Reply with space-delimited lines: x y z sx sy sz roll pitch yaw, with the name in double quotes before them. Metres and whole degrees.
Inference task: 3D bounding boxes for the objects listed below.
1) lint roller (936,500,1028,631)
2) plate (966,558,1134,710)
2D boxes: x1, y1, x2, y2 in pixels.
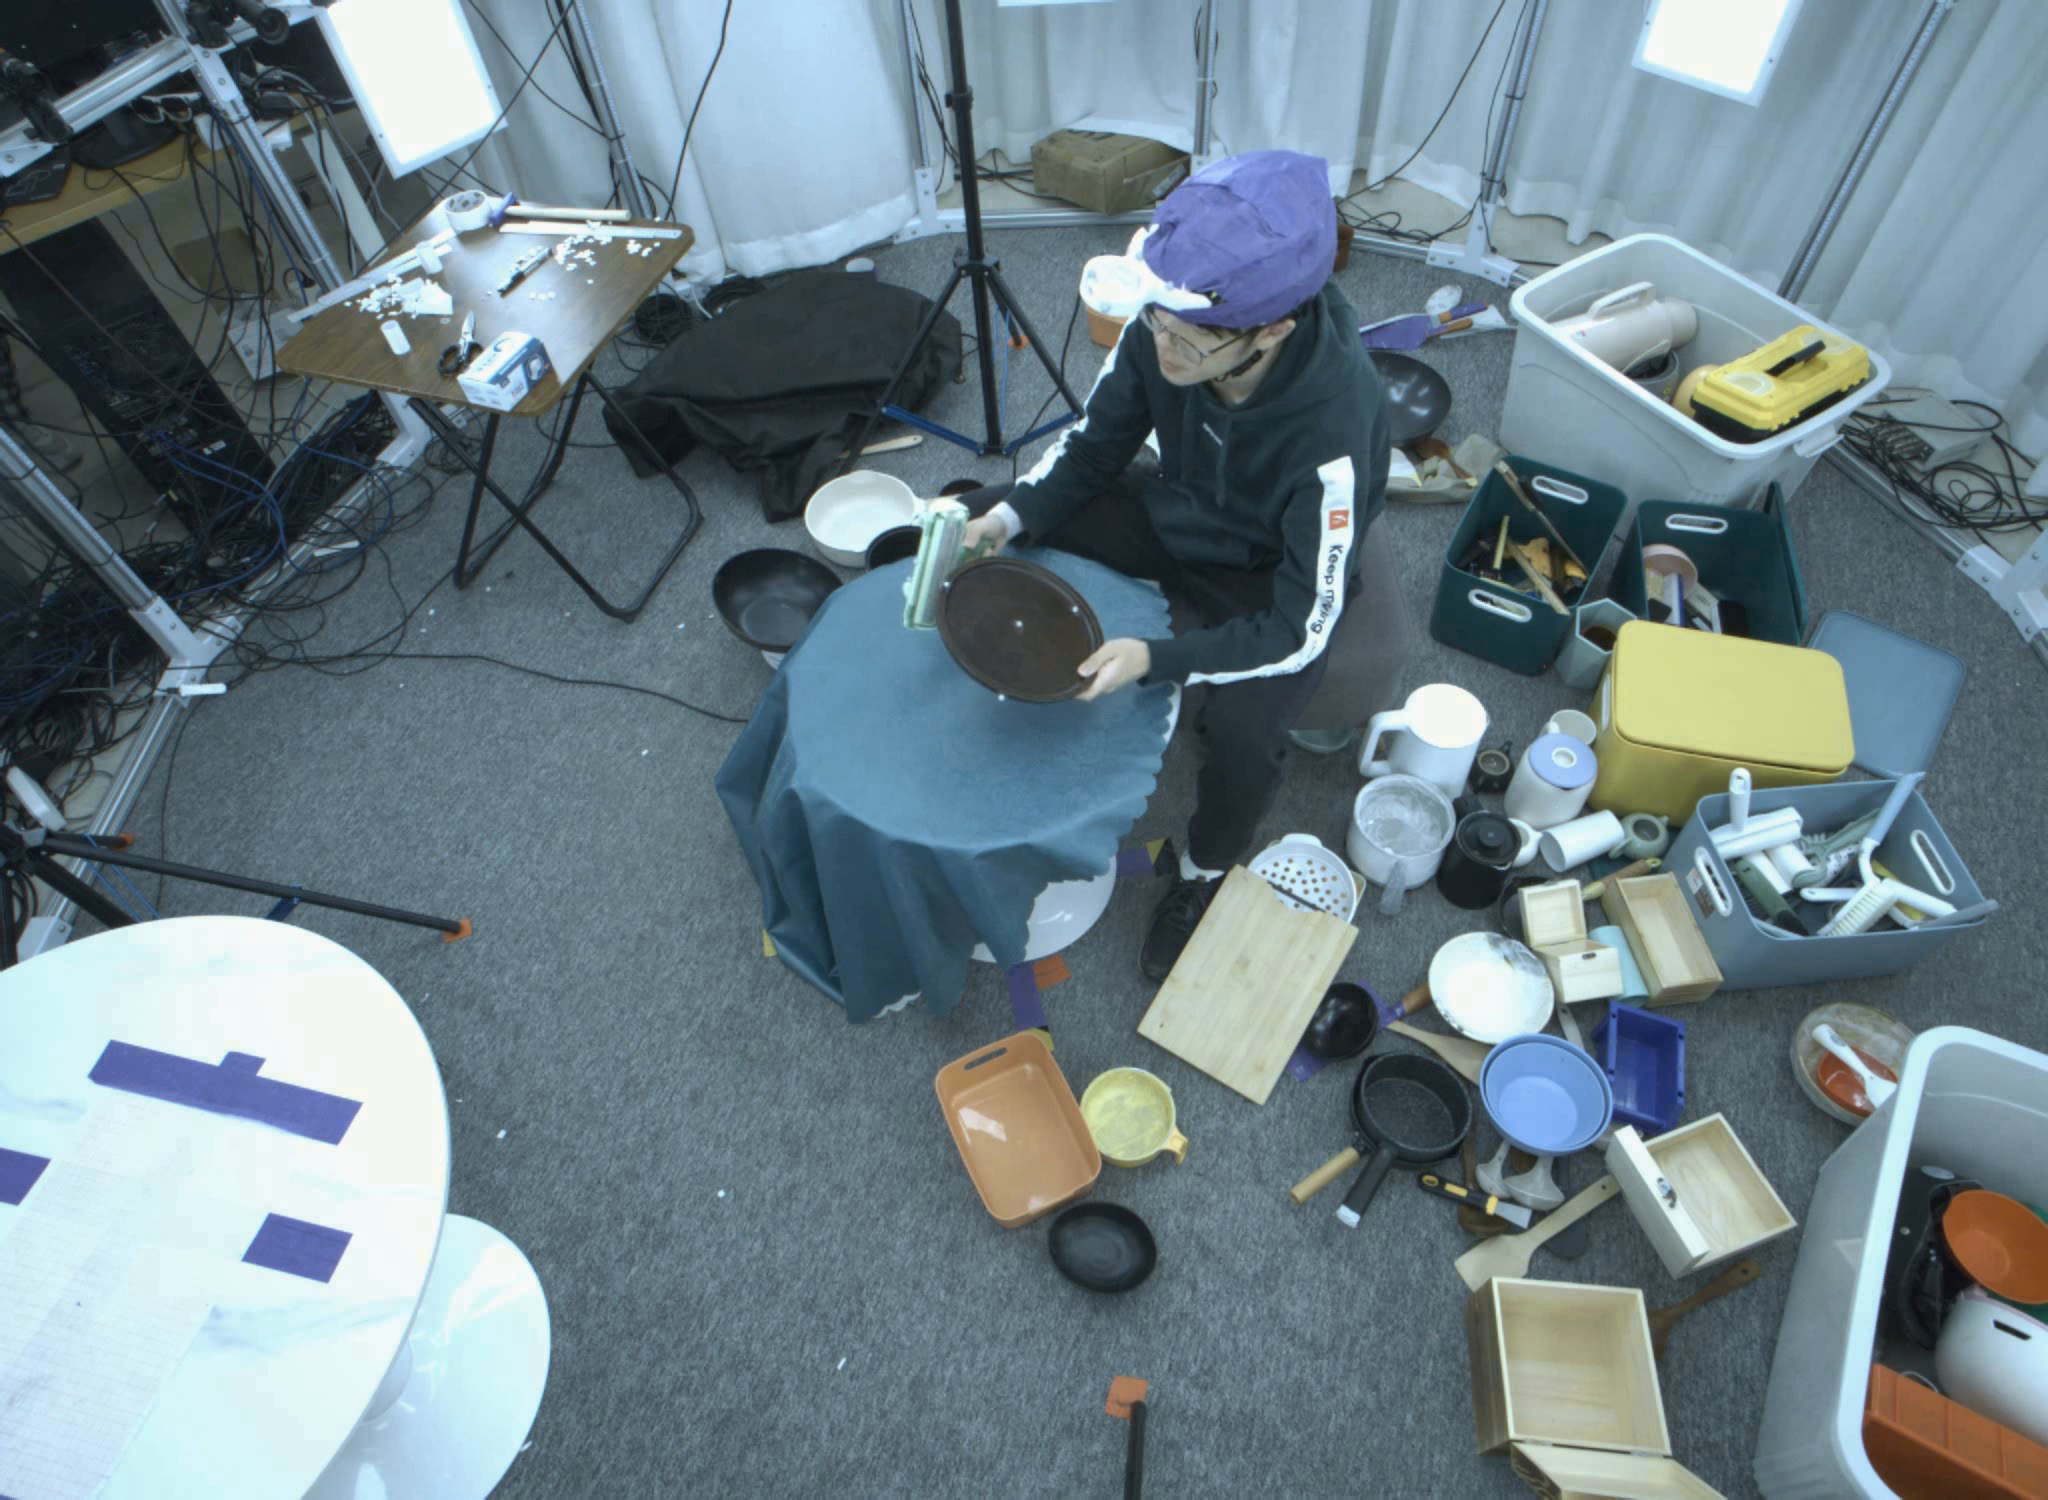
"lint roller" -0.065 -0.292 1.811 0.081 0.199 0.184 26 35 12
"plate" 0.037 -0.161 1.707 0.258 0.029 0.252 13 55 -18
